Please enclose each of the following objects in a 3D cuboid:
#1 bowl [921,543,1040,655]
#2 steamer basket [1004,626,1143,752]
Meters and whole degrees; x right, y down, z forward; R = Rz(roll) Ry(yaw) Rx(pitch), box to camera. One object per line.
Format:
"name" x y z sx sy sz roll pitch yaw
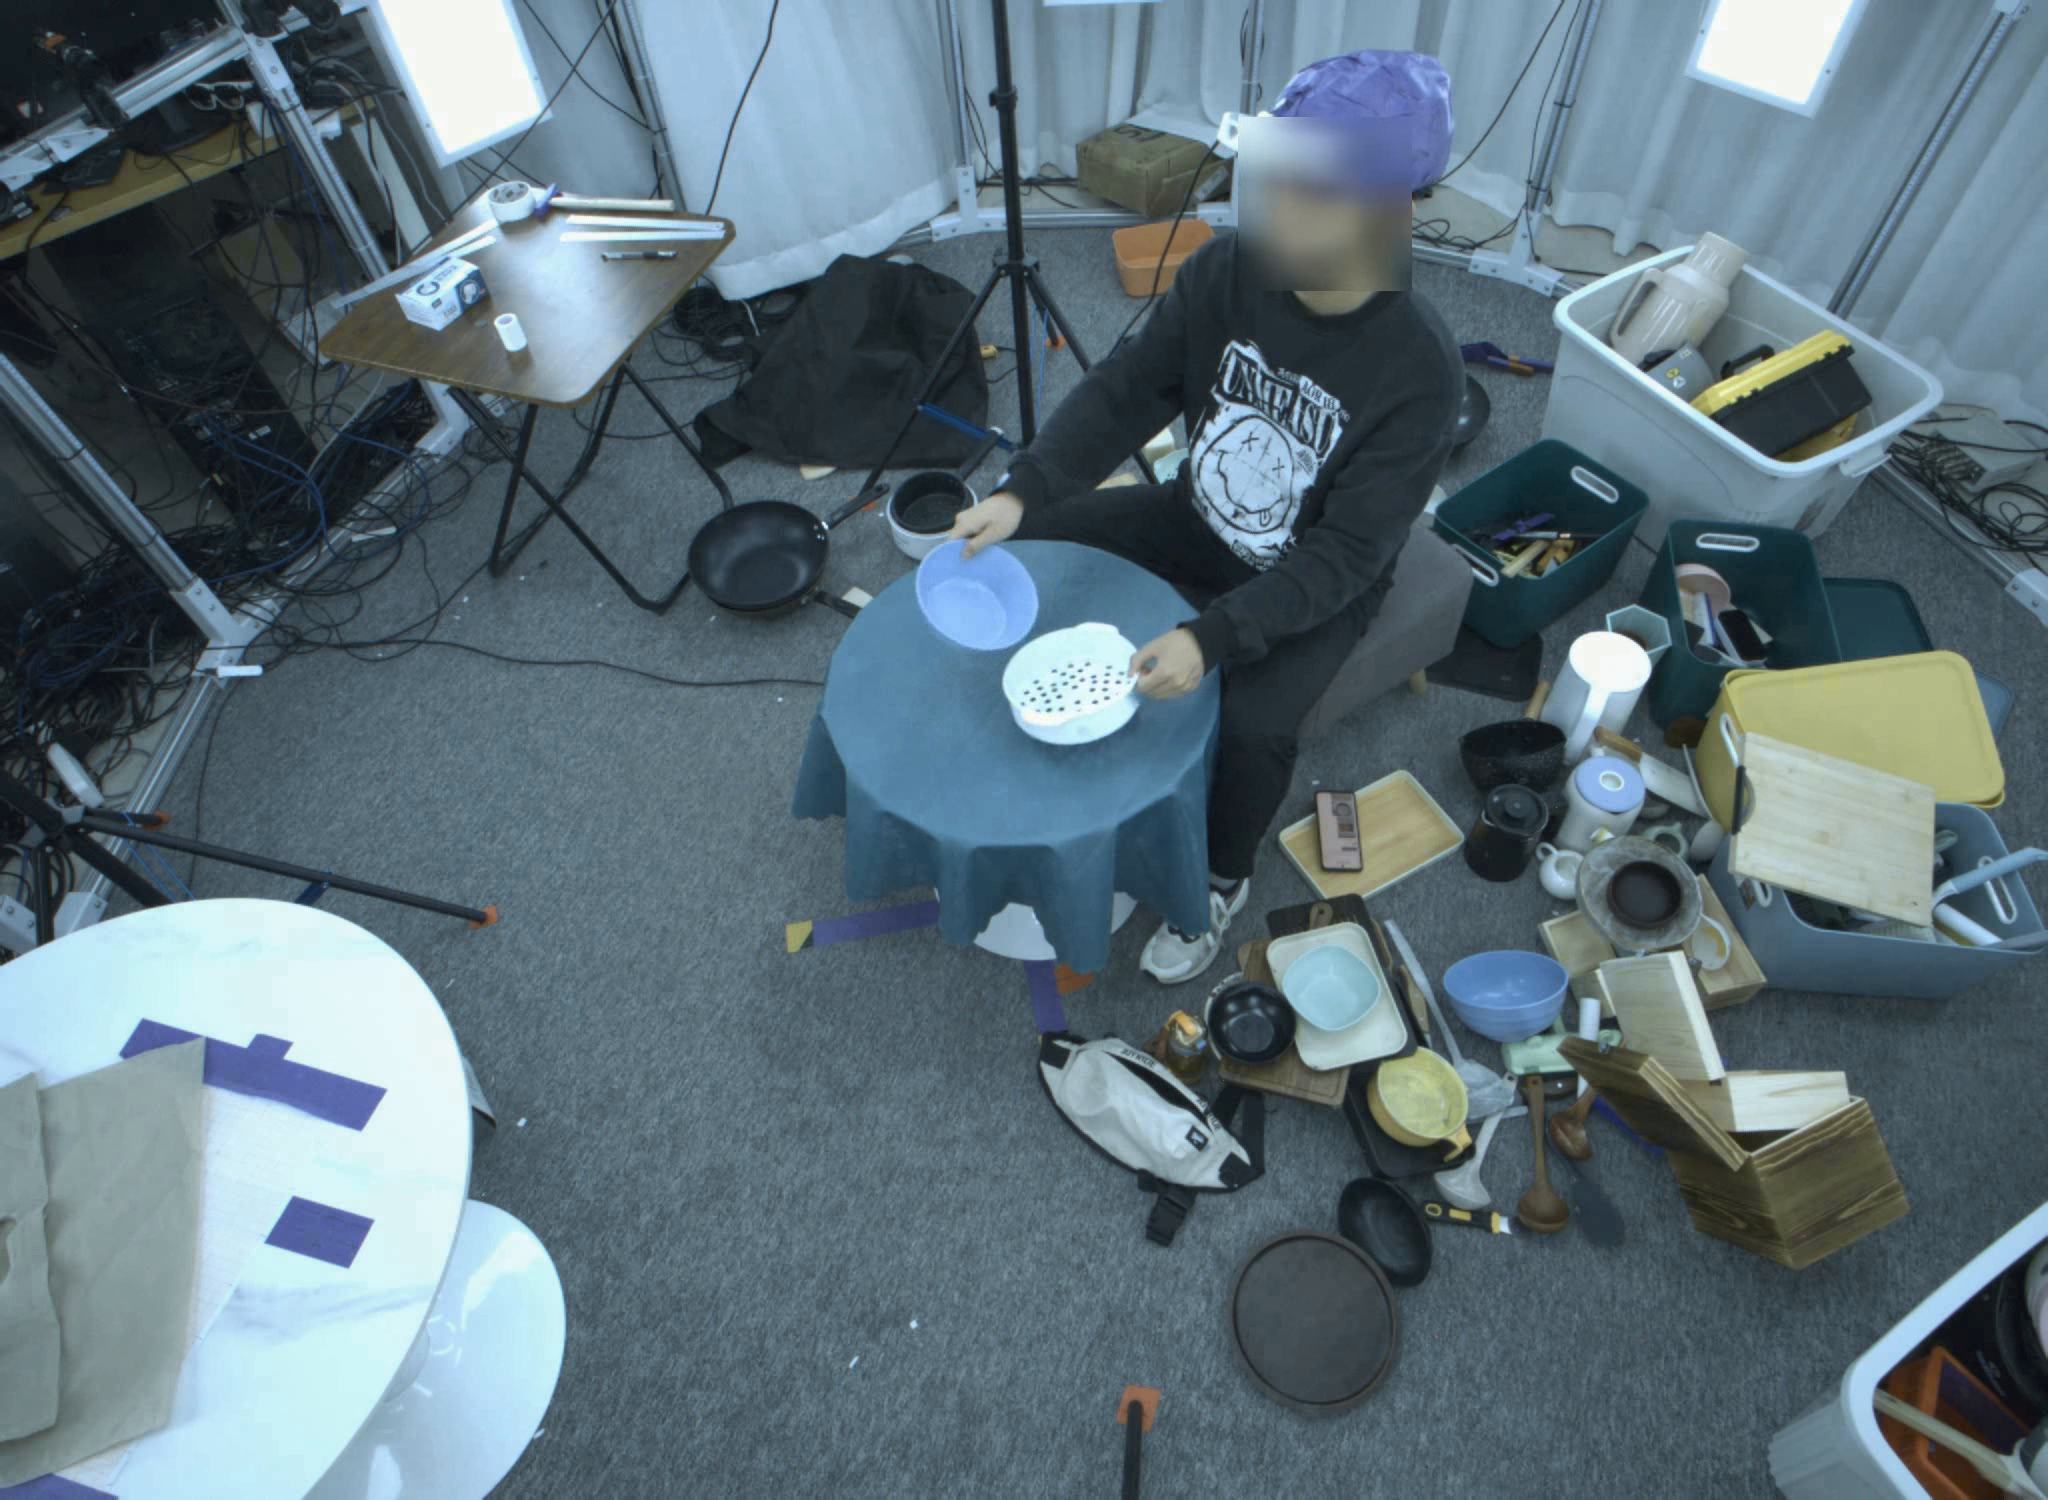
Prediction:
"bowl" -0.071 -0.202 1.731 0.179 0.070 0.174 10 65 -21
"steamer basket" 0.074 -0.085 1.793 0.198 0.070 0.230 10 50 23
